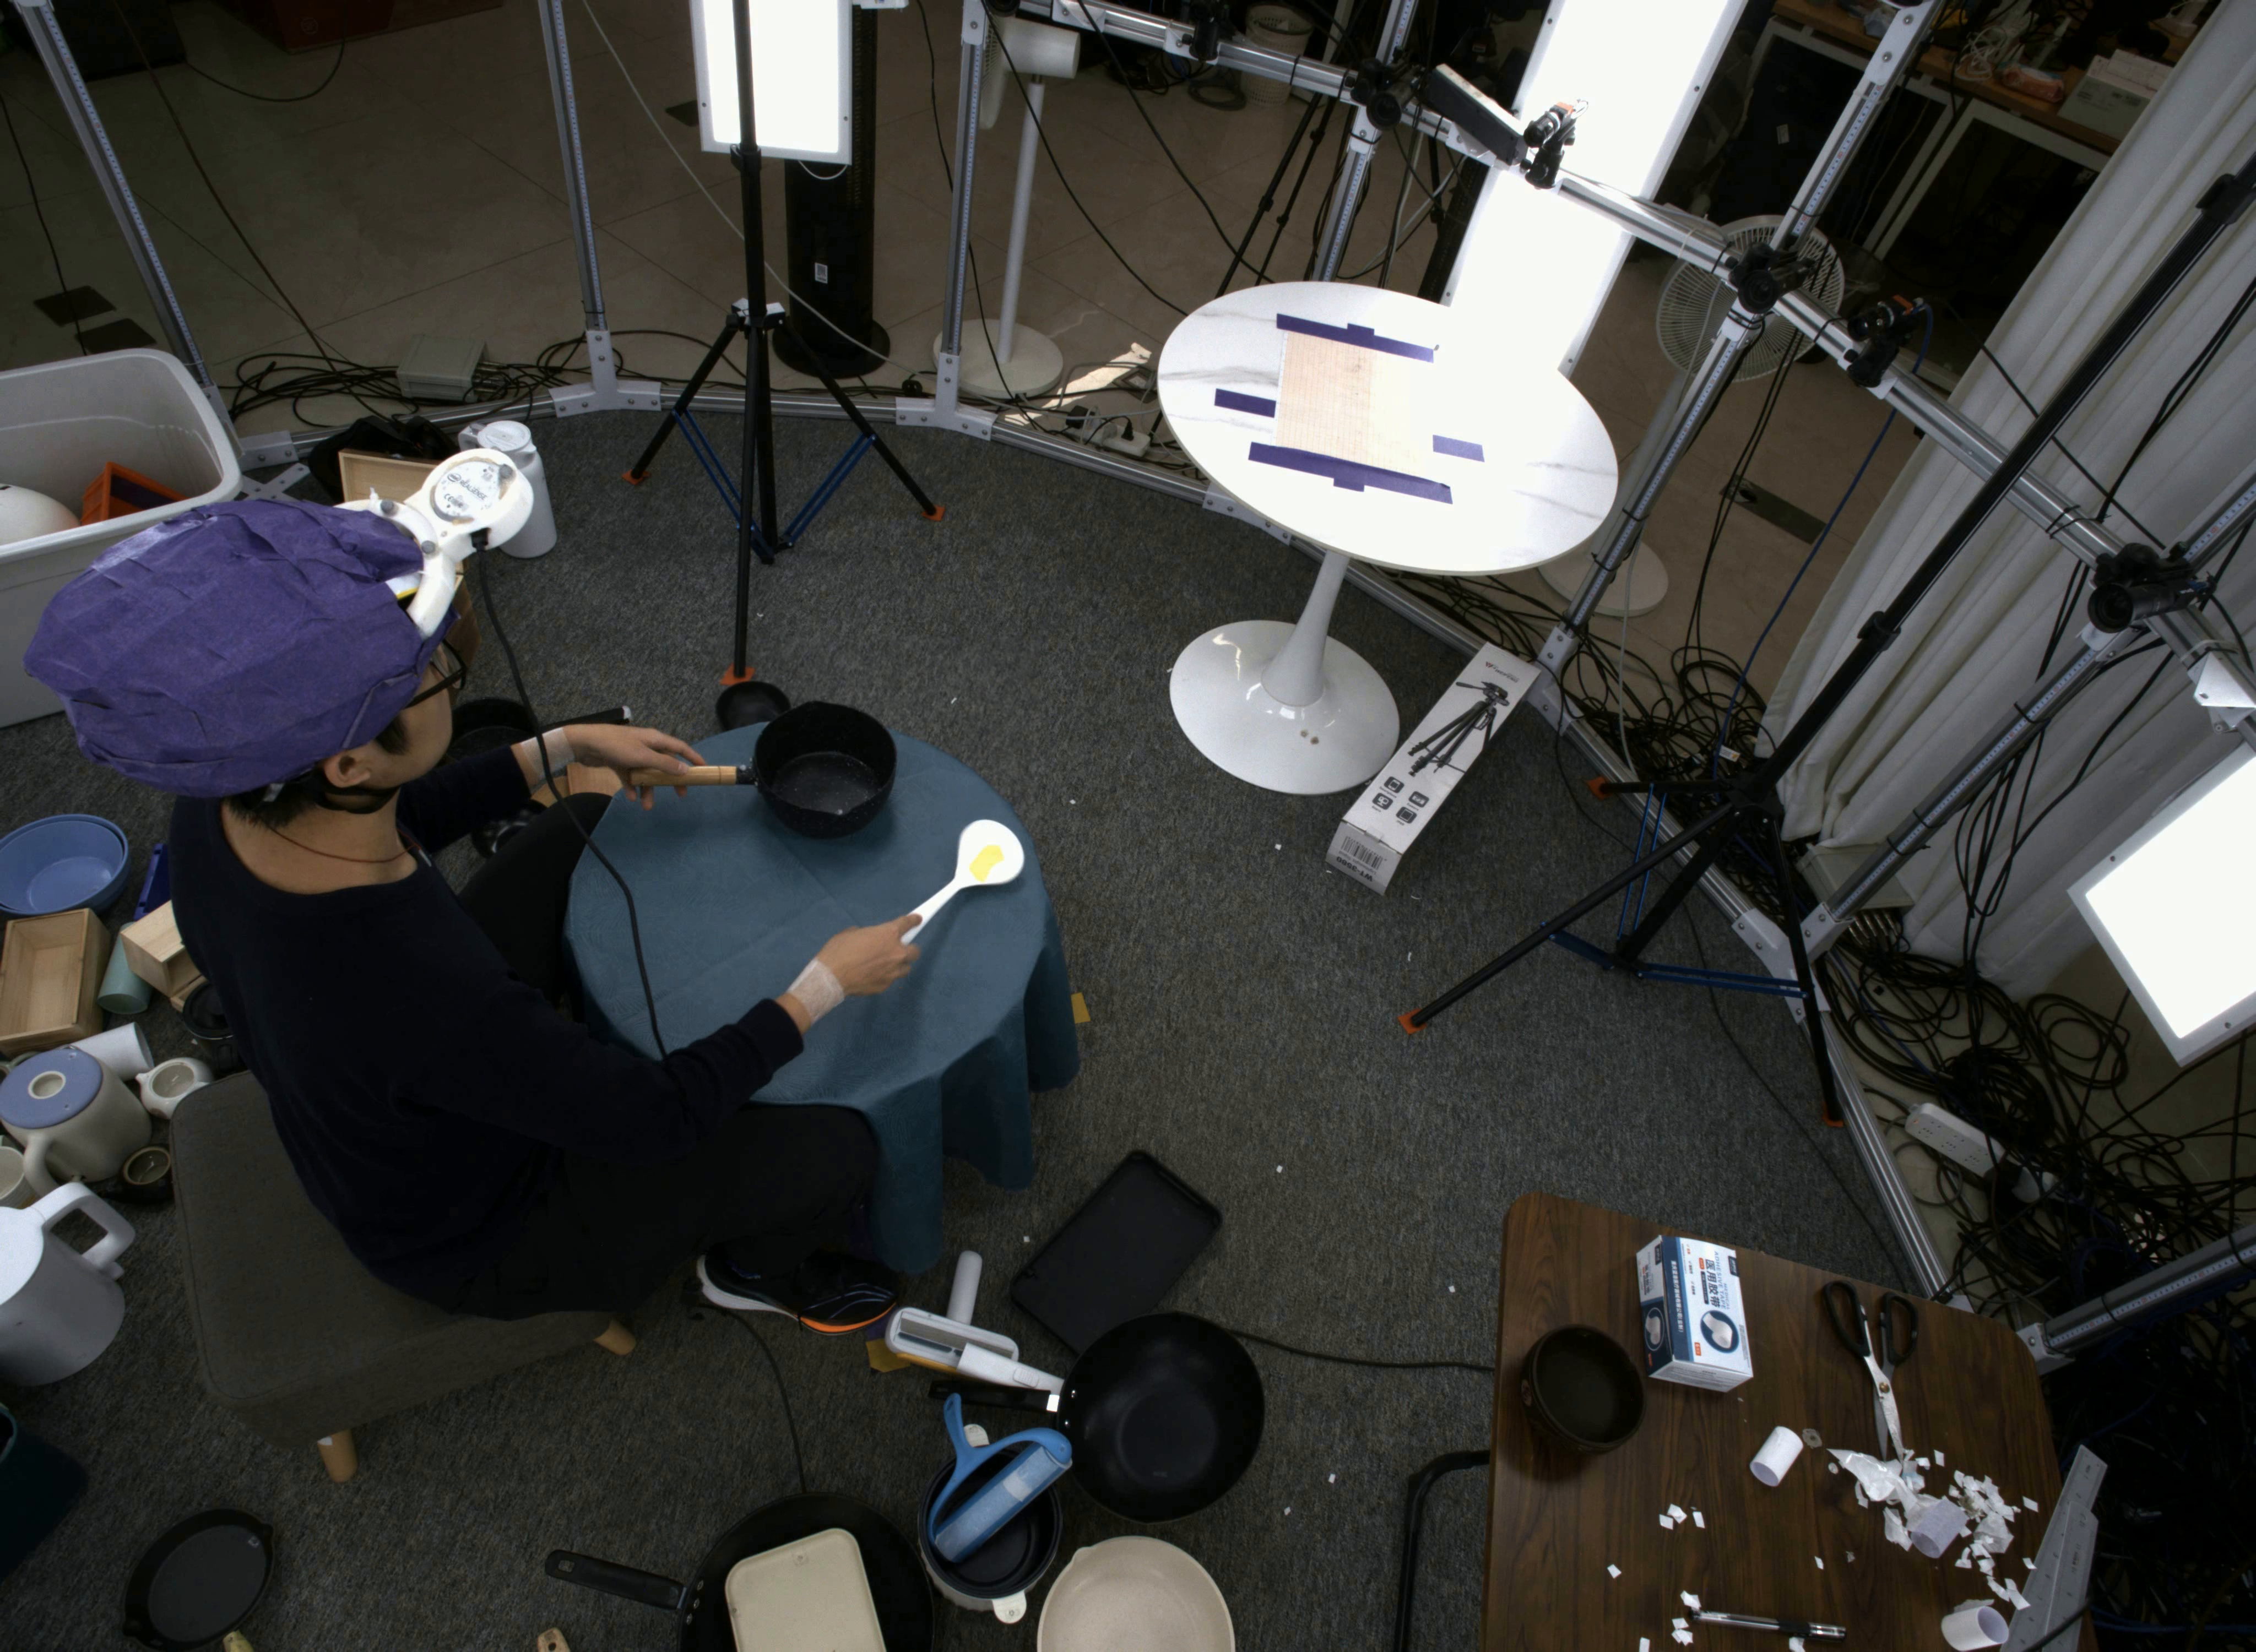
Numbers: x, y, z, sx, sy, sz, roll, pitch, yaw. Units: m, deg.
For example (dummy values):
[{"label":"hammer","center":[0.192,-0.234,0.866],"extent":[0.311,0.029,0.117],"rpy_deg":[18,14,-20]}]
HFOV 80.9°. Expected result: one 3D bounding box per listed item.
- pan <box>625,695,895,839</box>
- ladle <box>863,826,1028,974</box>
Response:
[{"label":"pan","center":[-0.473,-0.062,1.677],"extent":[0.345,0.110,0.202],"rpy_deg":[-10,58,-23]},{"label":"ladle","center":[-0.223,0.092,1.619],"extent":[0.092,0.069,0.292],"rpy_deg":[59,33,-9]}]
